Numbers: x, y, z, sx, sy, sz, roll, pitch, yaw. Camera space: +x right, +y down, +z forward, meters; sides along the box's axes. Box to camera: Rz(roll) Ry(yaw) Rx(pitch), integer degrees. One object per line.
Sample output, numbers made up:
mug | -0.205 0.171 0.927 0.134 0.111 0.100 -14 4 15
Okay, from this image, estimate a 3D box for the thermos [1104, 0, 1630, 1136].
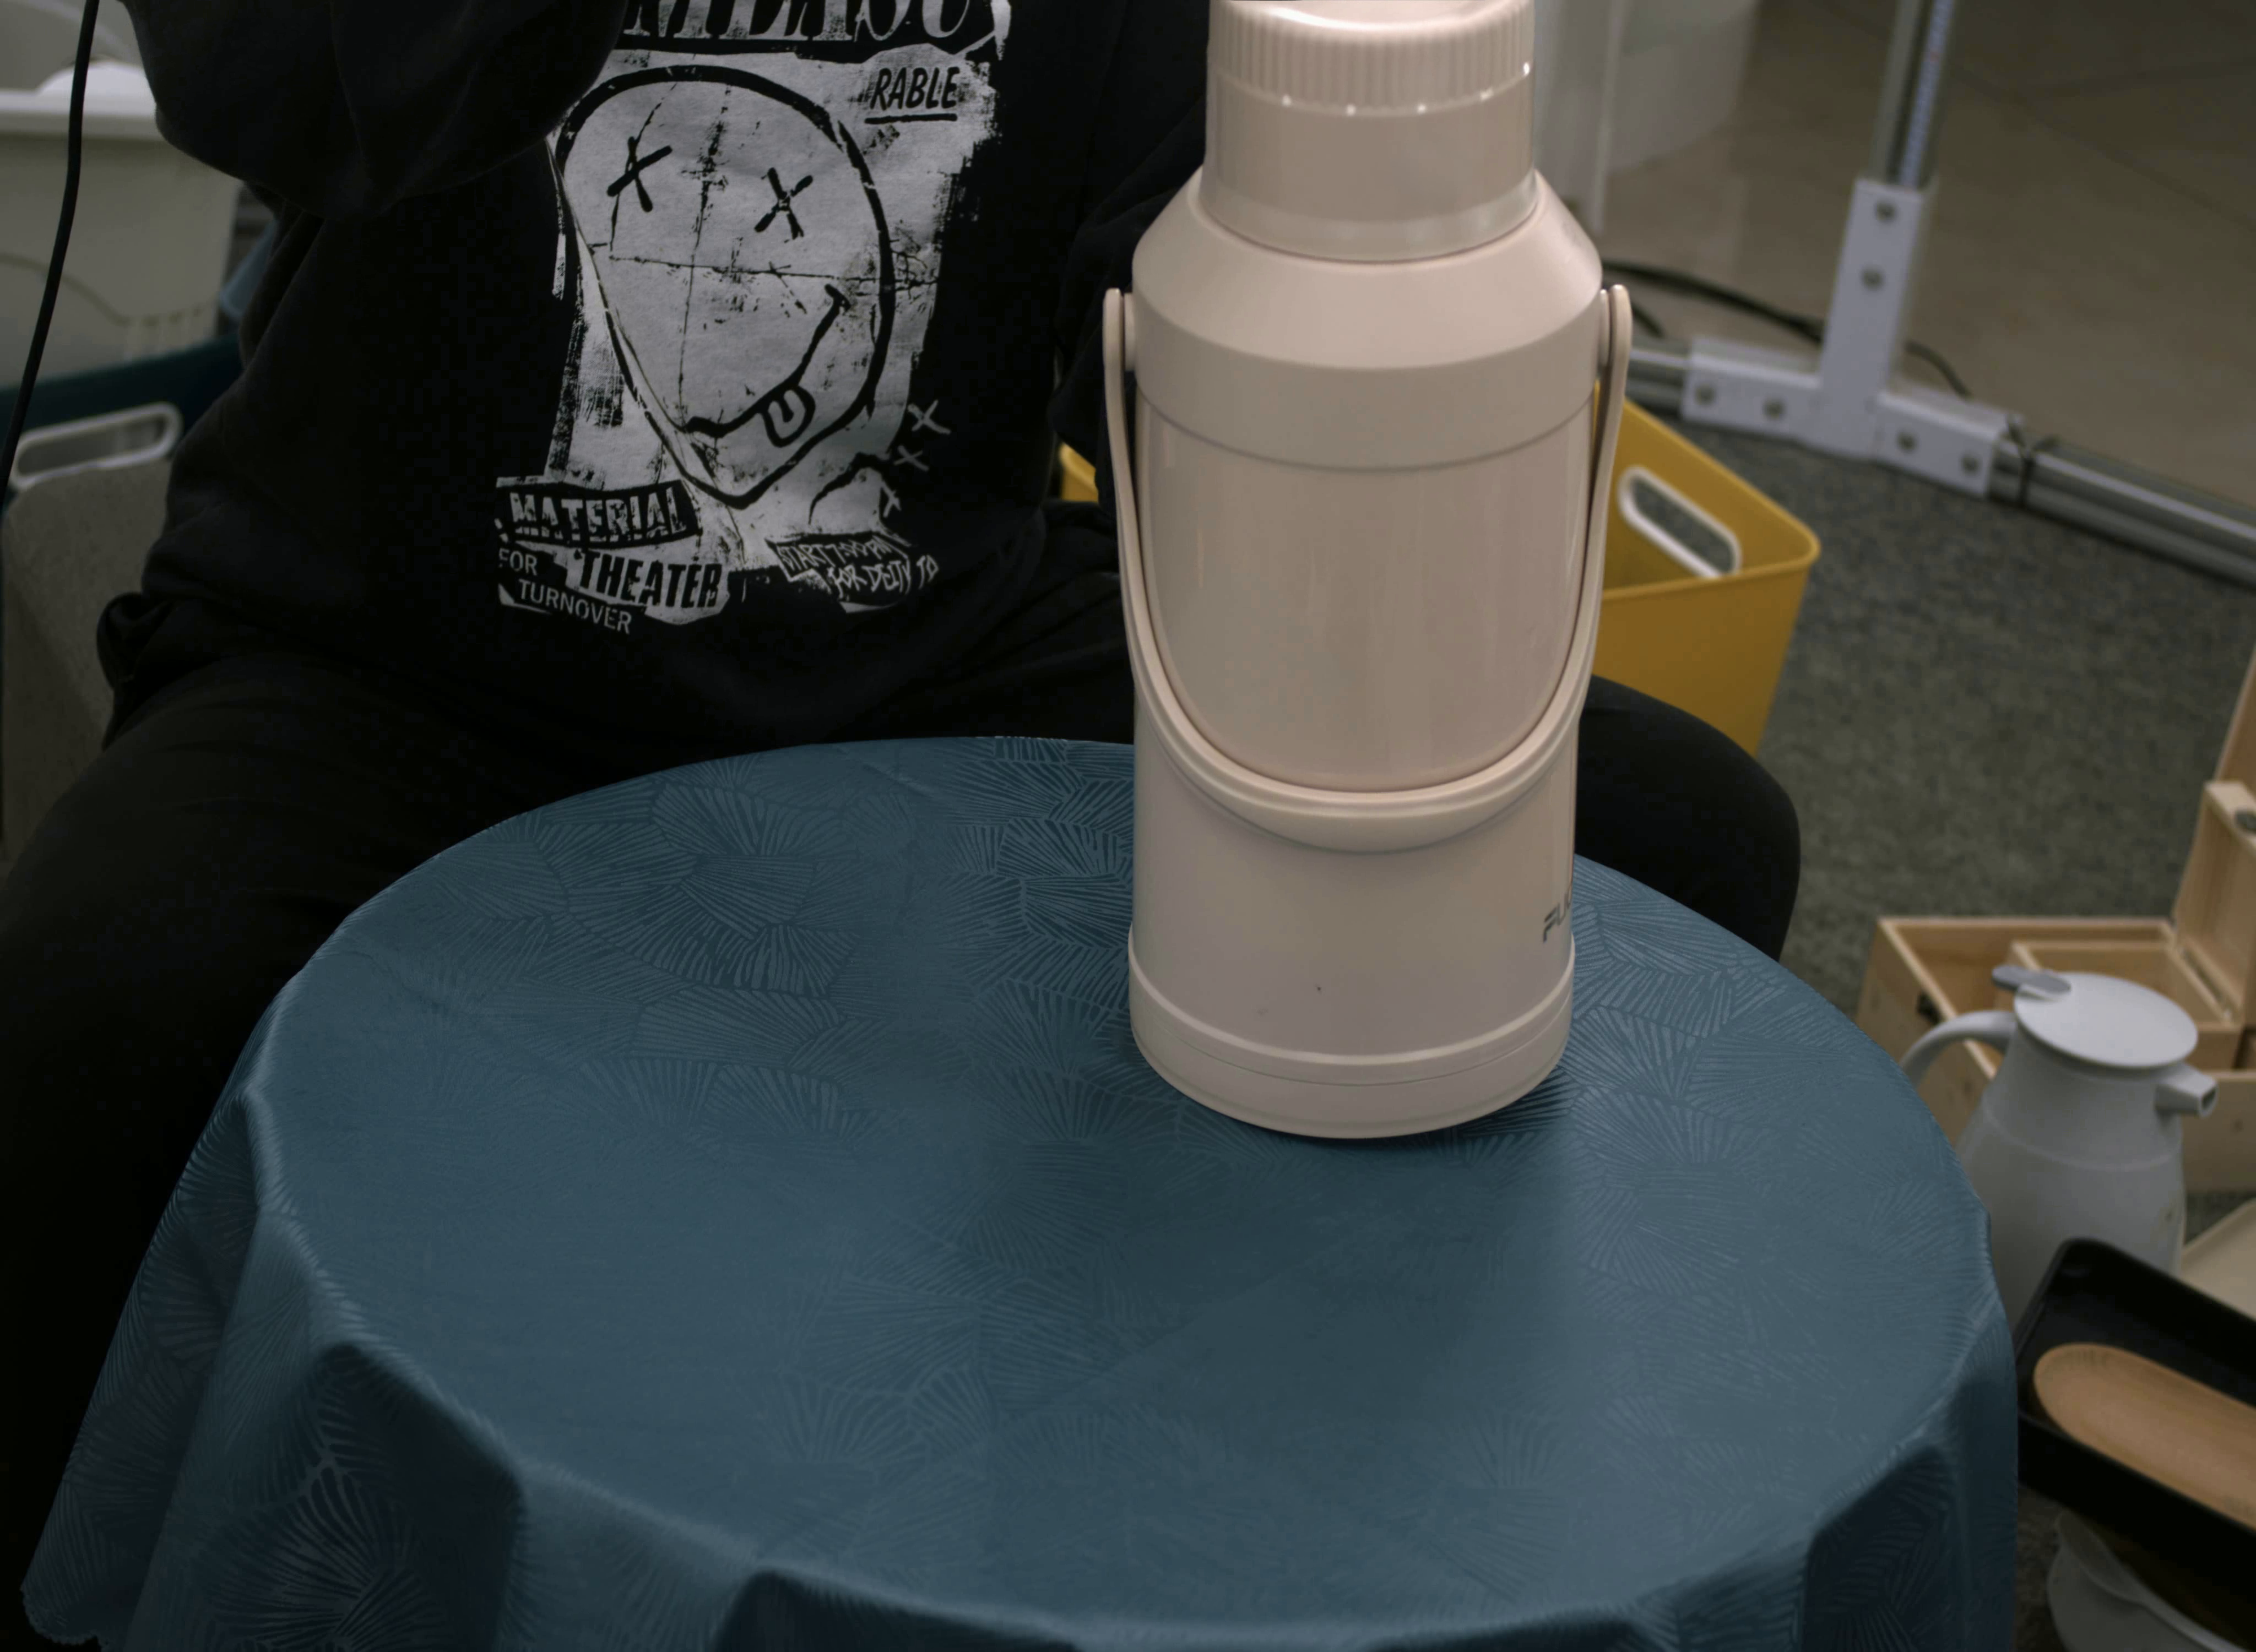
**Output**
thermos | 0.081 -0.110 1.827 0.175 0.404 0.208 -2 30 0
